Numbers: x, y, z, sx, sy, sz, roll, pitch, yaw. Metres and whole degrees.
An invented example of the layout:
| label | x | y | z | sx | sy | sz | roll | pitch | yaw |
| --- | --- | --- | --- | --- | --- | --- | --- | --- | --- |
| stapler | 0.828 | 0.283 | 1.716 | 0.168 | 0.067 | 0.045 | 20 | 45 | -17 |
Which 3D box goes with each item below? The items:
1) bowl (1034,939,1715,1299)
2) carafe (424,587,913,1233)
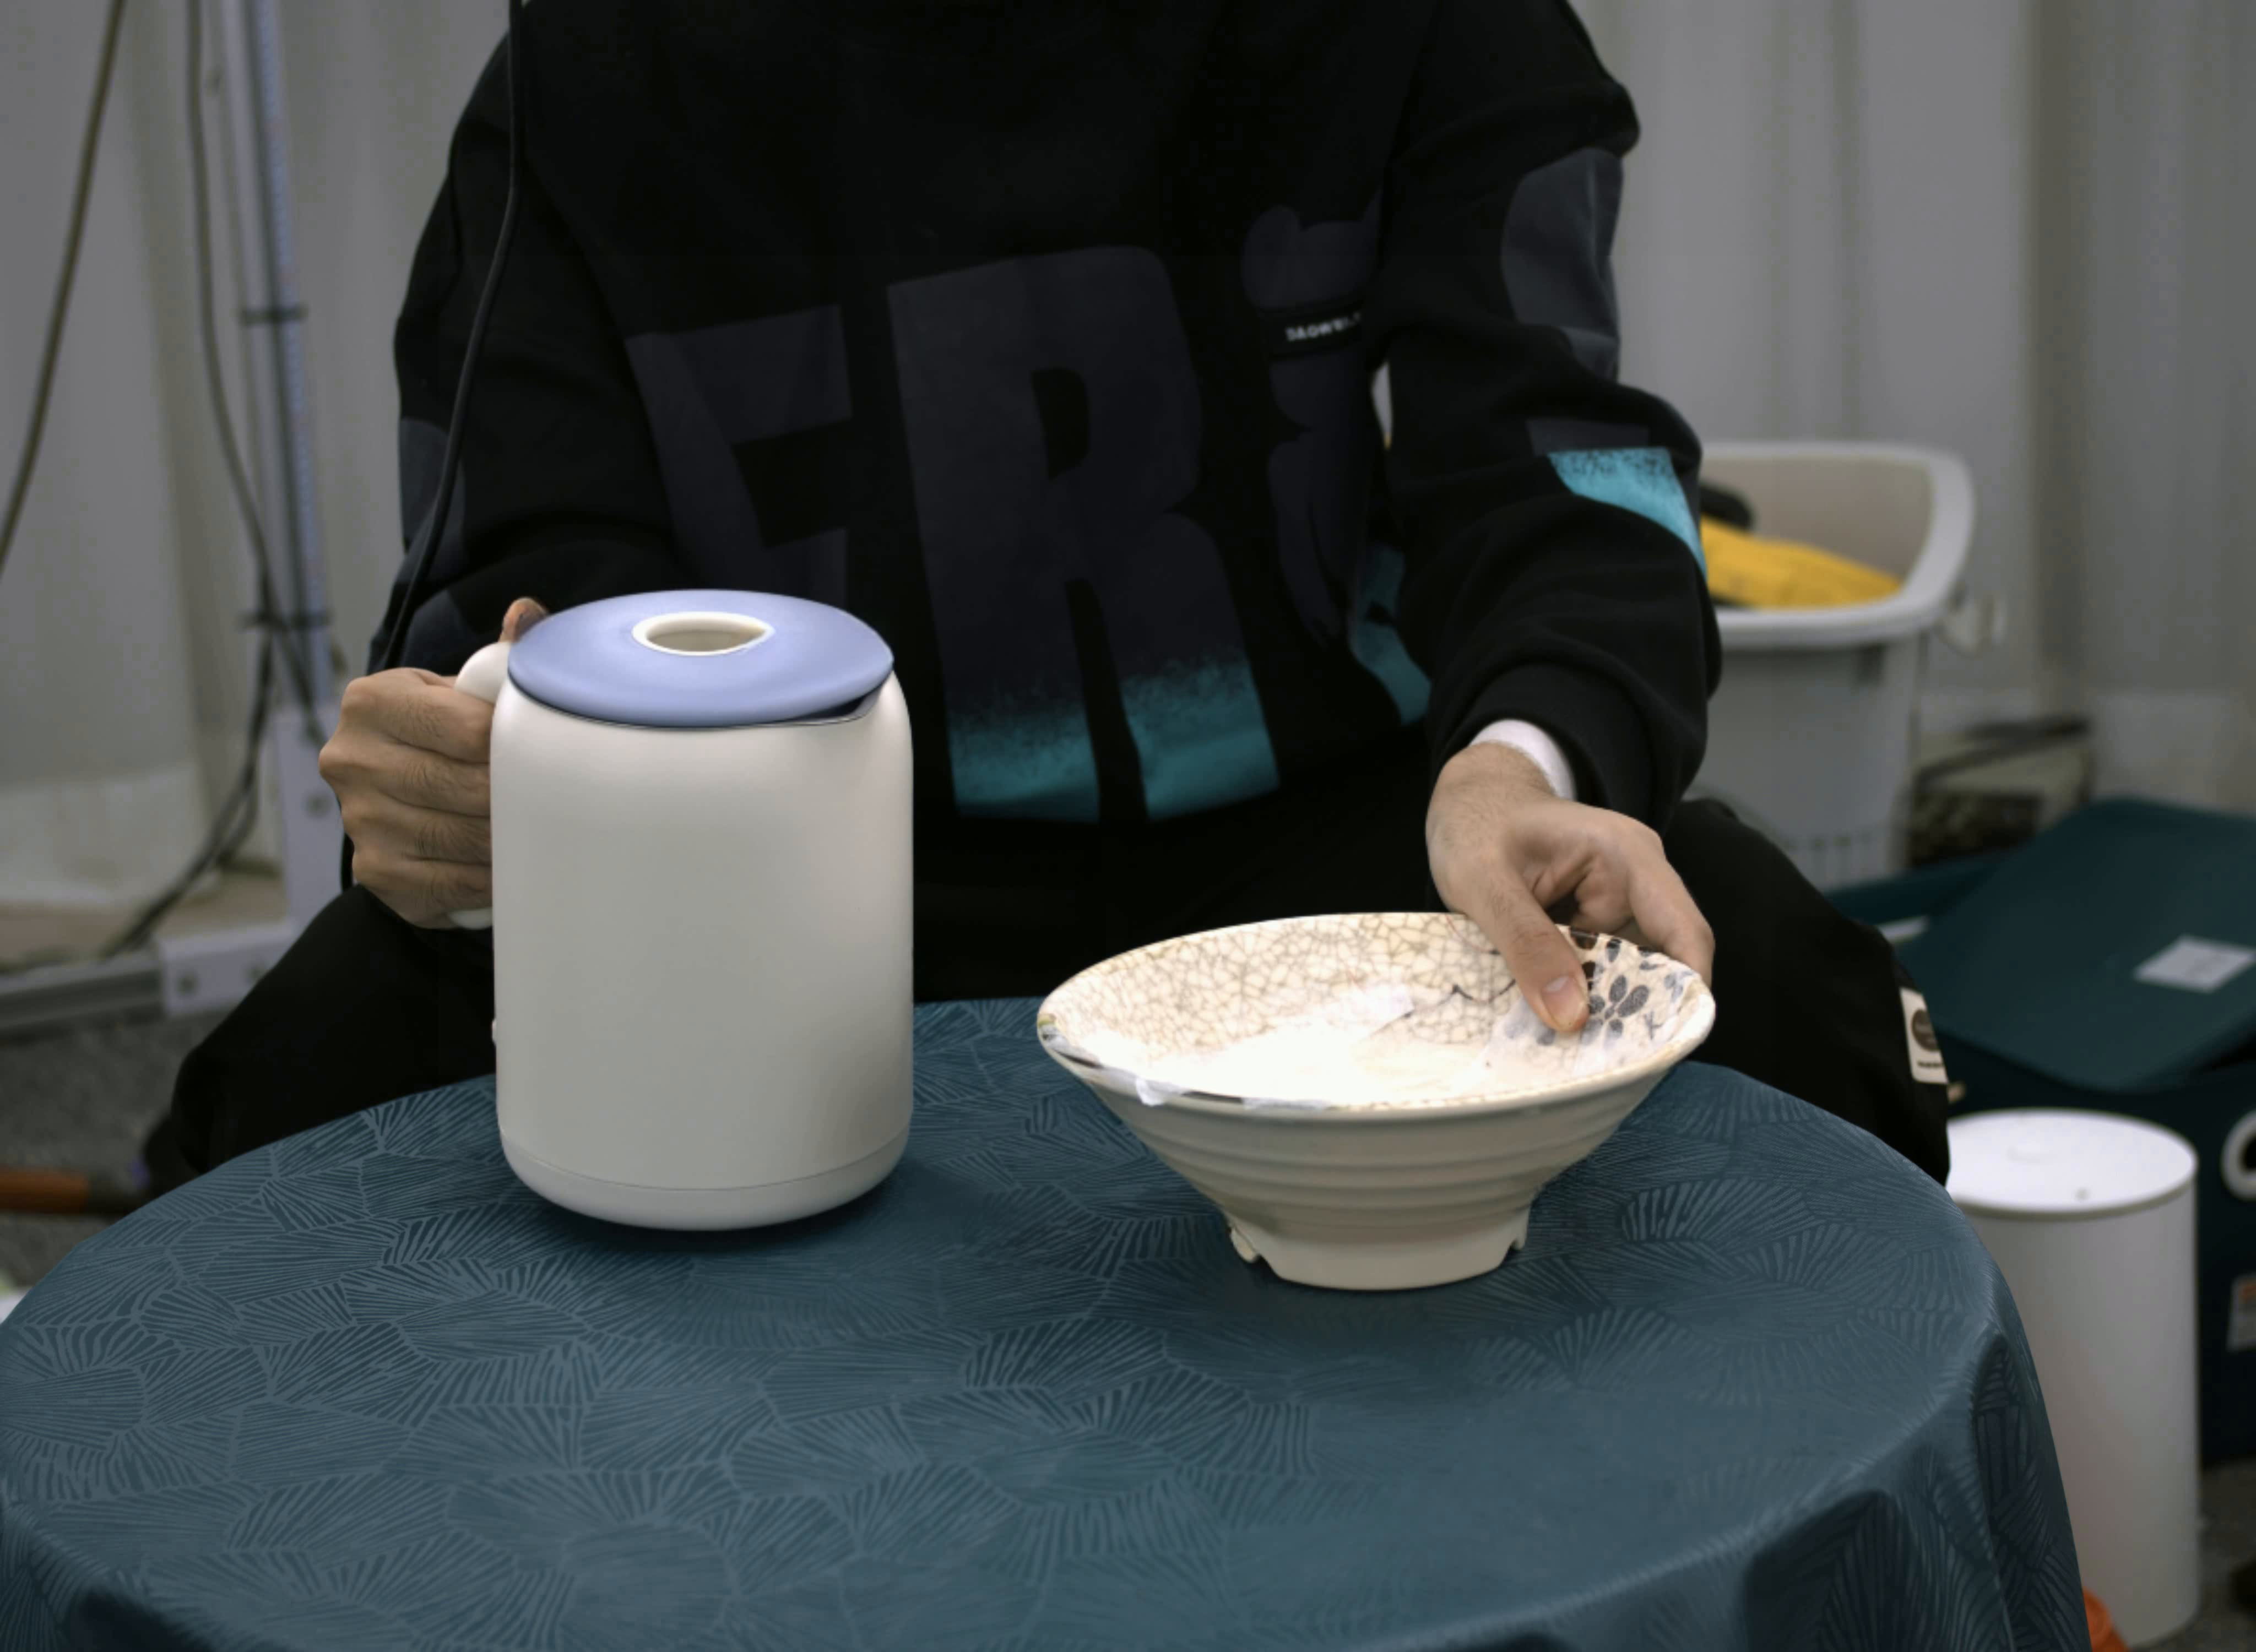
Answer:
| label | x | y | z | sx | sy | sz | roll | pitch | yaw |
| --- | --- | --- | --- | --- | --- | --- | --- | --- | --- |
| bowl | 0.074 | 0.093 | 1.640 | 0.203 | 0.078 | 0.205 | -1 | 11 | 0 |
| carafe | -0.151 | 0.020 | 1.718 | 0.192 | 0.181 | 0.132 | 13 | 21 | 39 |
